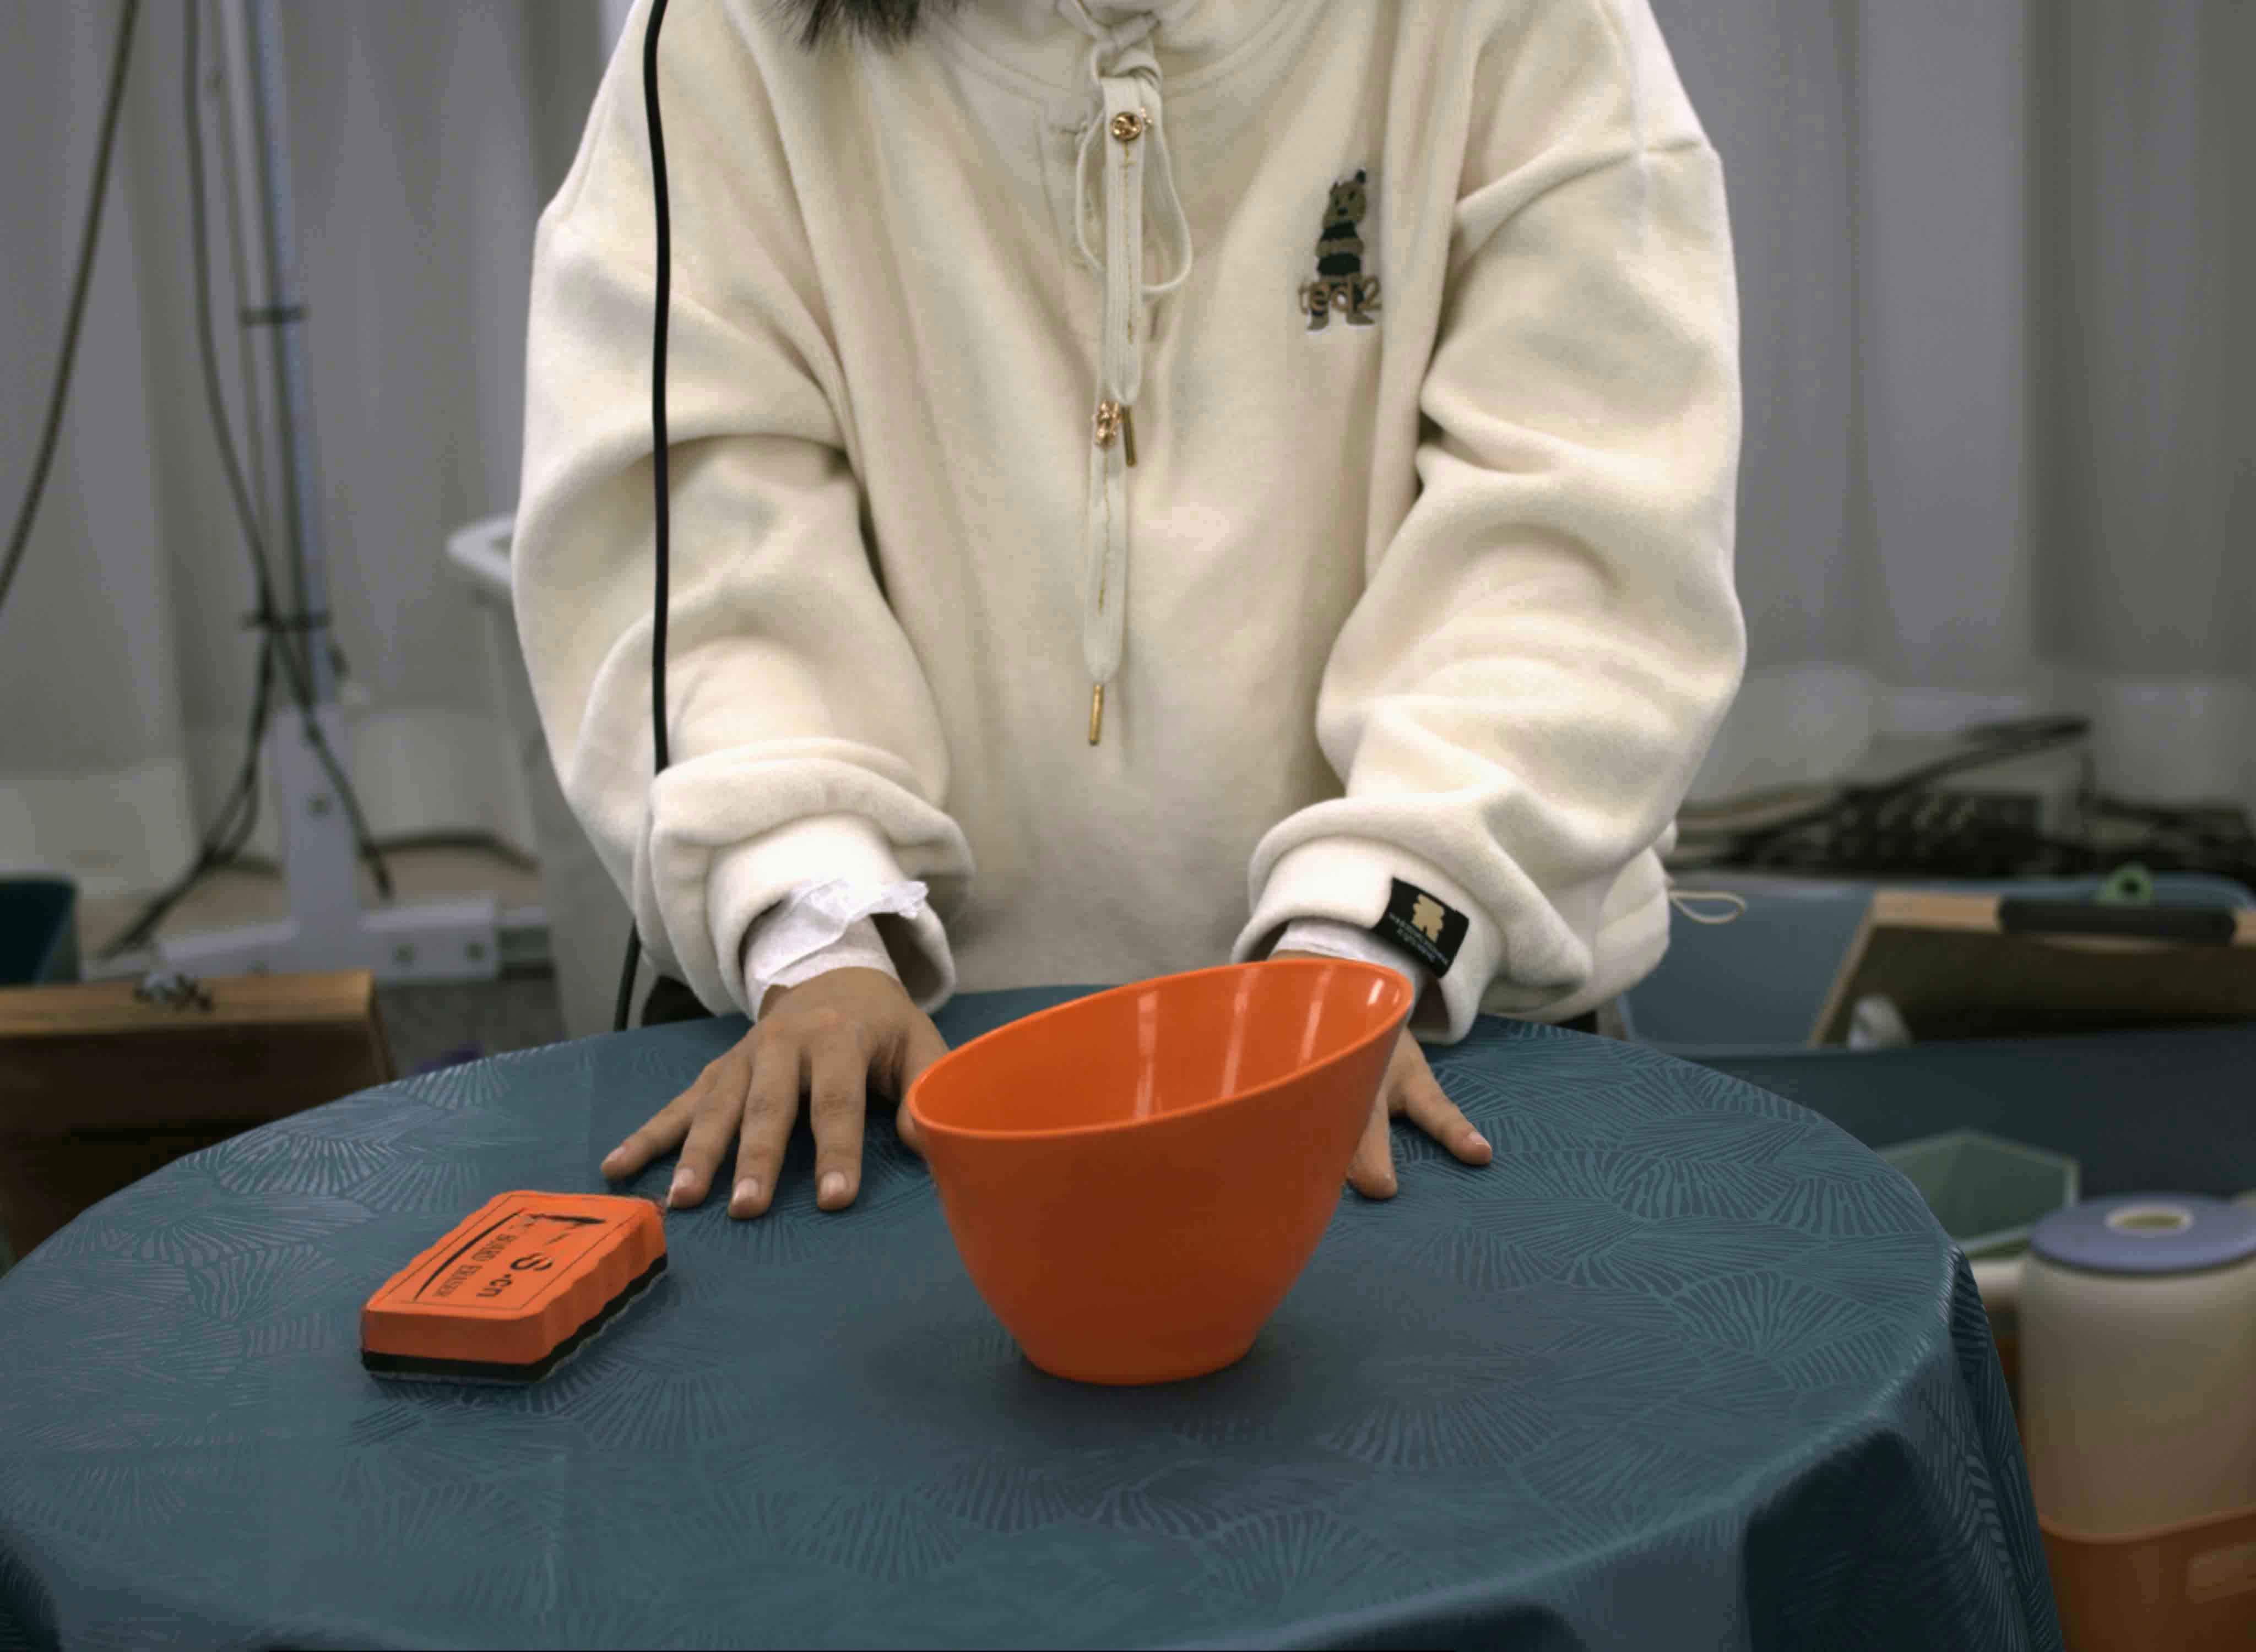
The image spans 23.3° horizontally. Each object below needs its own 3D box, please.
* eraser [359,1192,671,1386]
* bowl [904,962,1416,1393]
[{"bbox_3d":[-0.181,0.137,1.622,0.059,0.023,0.108,0,15,19],"label":"eraser"},{"bbox_3d":[0.011,0.102,1.564,0.147,0.104,0.149,-3,15,1],"label":"bowl"}]
